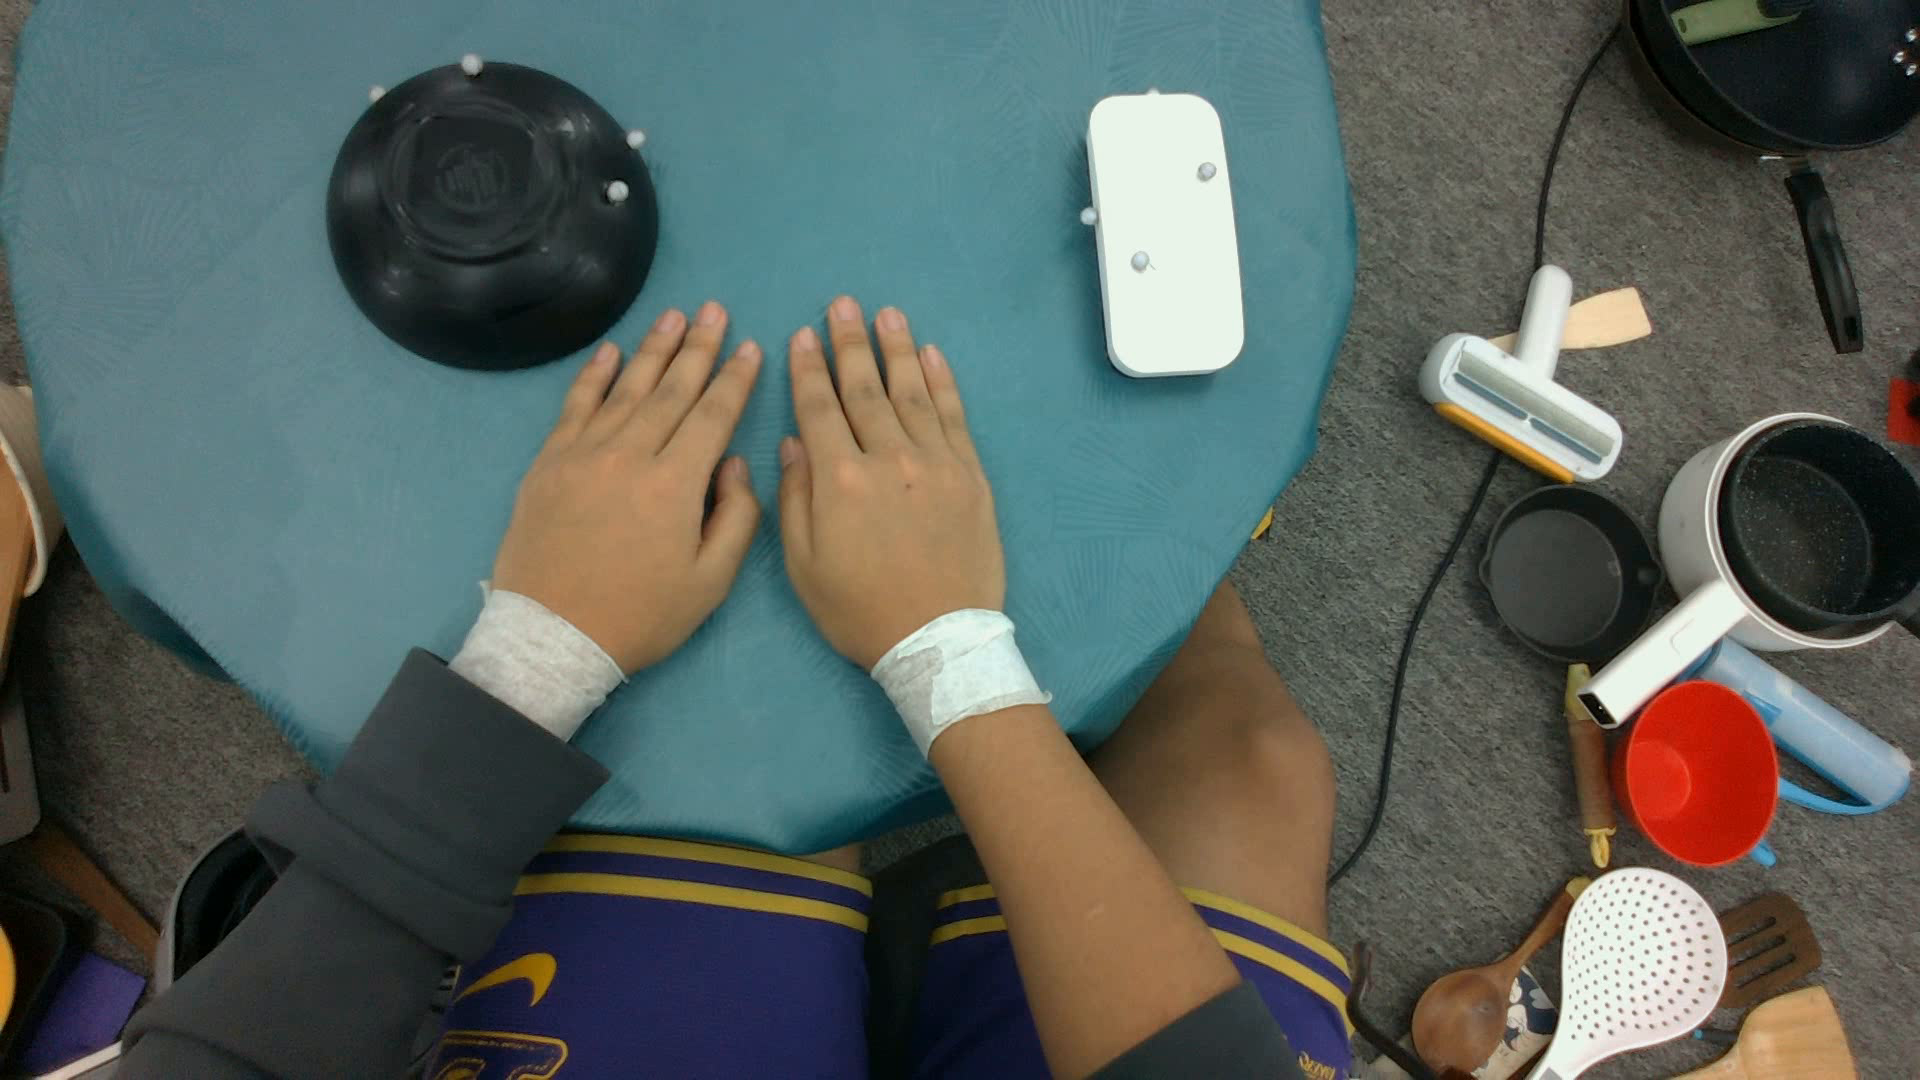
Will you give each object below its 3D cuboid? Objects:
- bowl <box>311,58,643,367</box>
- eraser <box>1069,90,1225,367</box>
[{"bbox_3d":[-0.207,-0.147,0.584,0.140,0.049,0.140,2,78,-9],"label":"bowl"},{"bbox_3d":[0.083,-0.144,0.634,0.063,0.034,0.131,-3,78,-7],"label":"eraser"}]
